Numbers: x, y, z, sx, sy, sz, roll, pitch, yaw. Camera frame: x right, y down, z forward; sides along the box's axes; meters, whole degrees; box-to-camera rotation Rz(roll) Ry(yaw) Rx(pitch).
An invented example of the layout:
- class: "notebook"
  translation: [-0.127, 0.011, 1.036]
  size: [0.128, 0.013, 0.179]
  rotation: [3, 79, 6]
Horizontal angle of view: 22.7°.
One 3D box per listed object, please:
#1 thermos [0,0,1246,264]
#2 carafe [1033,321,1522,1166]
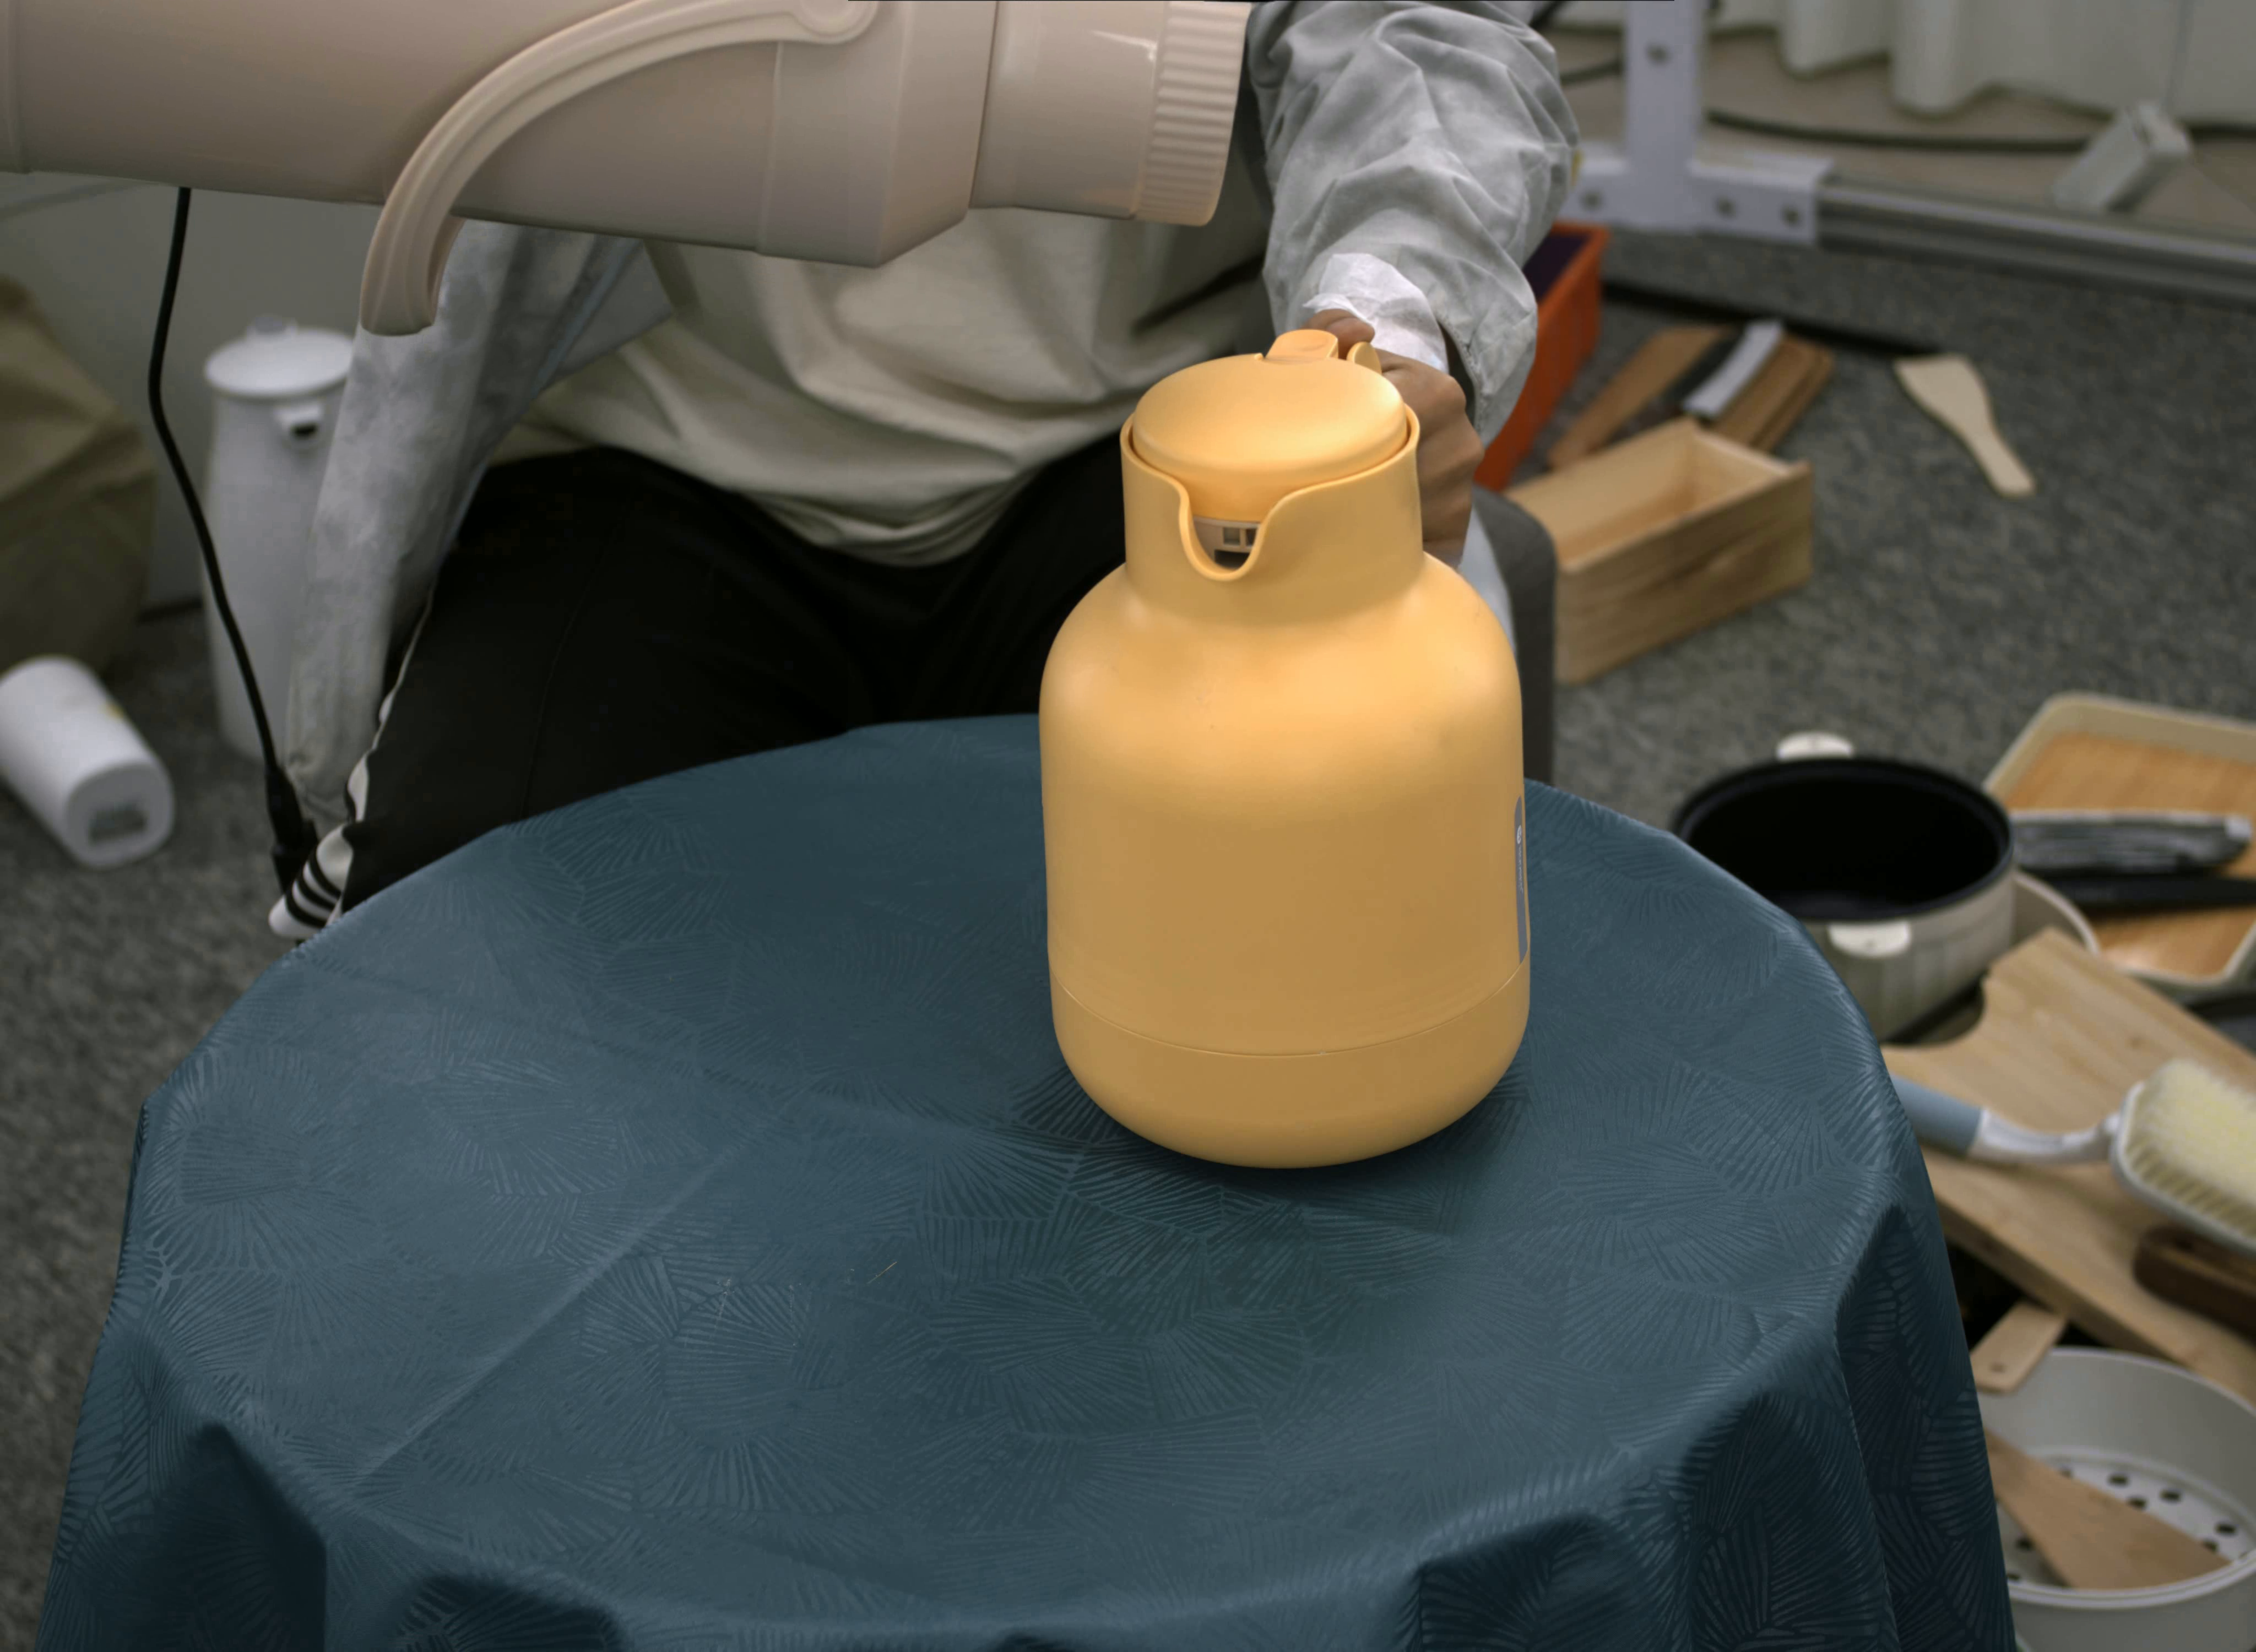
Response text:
- class: "thermos"
  translation: [-0.166, -0.278, 1.760]
  size: [0.404, 0.207, 0.175]
  rotation: [6, 4, -2]
- class: "carafe"
  translation: [0.055, -0.037, 1.880]
  size: [0.162, 0.257, 0.206]
  rotation: [7, 29, 14]
